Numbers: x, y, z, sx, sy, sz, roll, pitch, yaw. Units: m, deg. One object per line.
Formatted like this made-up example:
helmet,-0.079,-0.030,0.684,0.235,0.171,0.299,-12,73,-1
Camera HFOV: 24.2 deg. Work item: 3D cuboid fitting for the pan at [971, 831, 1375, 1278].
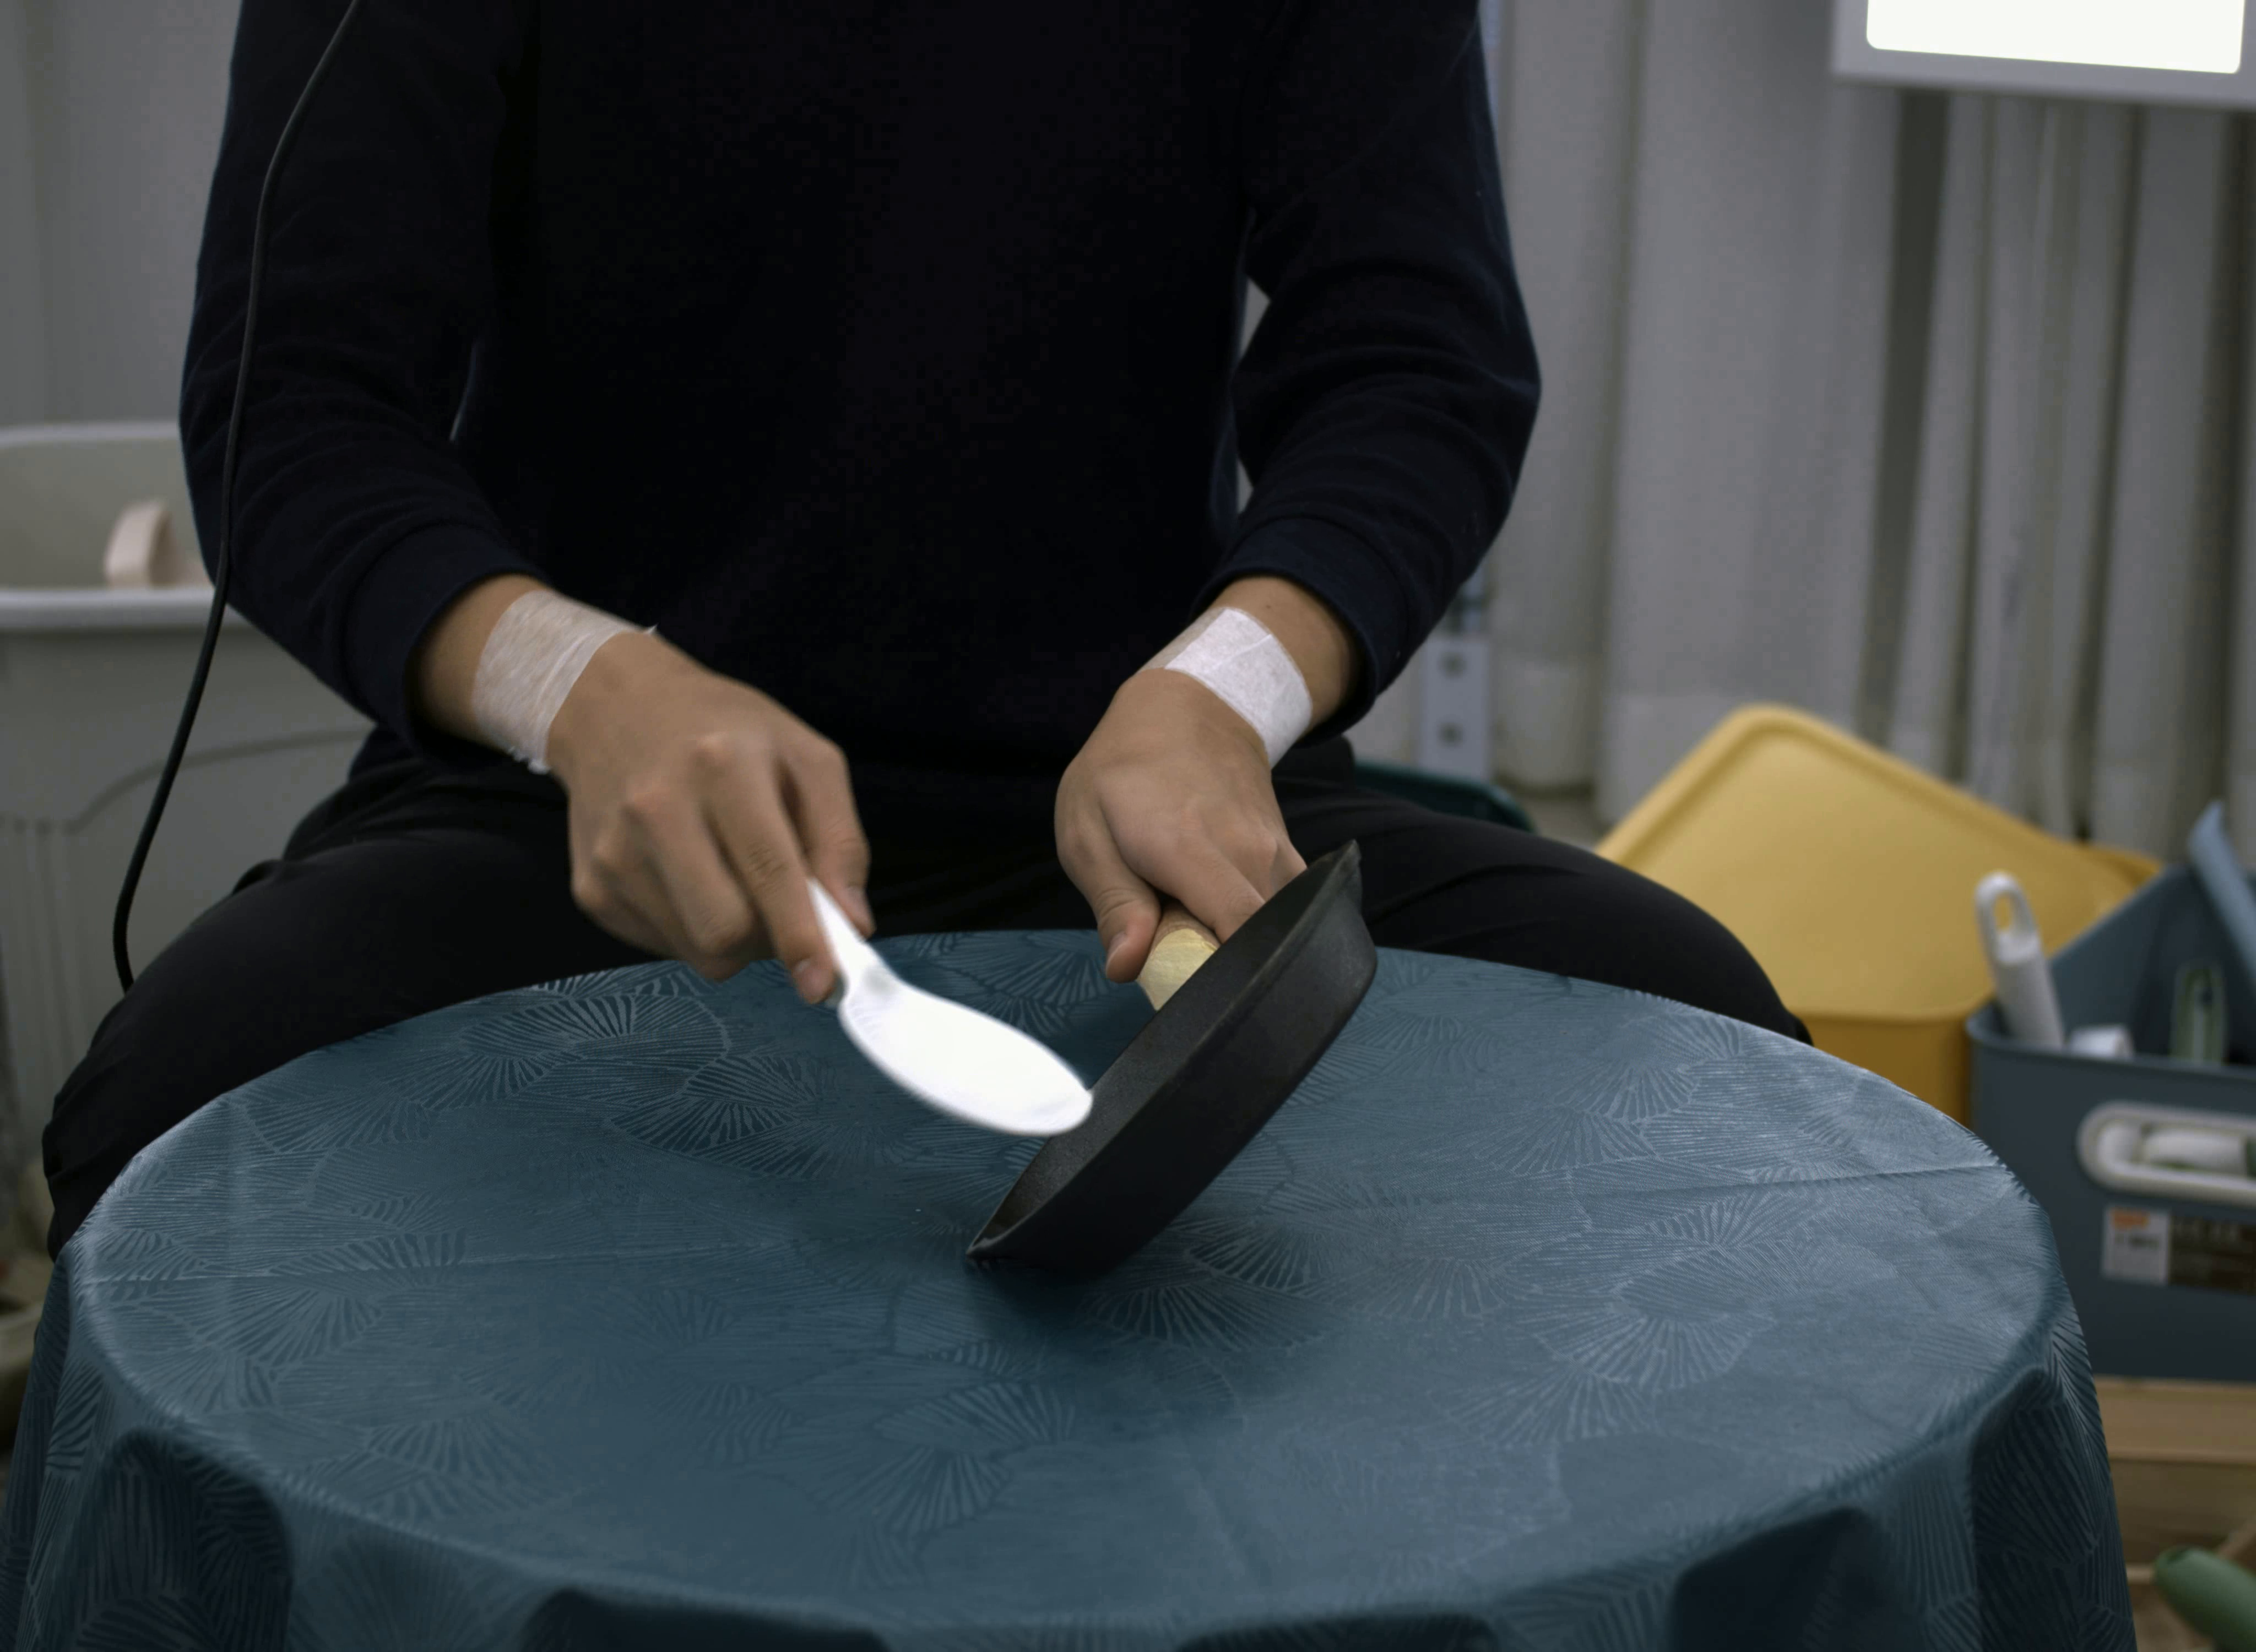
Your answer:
pan,0.021,0.053,1.626,0.049,0.169,0.323,41,12,-5

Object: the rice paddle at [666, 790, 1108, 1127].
rice paddle,-0.076,0.043,1.618,0.069,0.029,0.202,2,24,-40
